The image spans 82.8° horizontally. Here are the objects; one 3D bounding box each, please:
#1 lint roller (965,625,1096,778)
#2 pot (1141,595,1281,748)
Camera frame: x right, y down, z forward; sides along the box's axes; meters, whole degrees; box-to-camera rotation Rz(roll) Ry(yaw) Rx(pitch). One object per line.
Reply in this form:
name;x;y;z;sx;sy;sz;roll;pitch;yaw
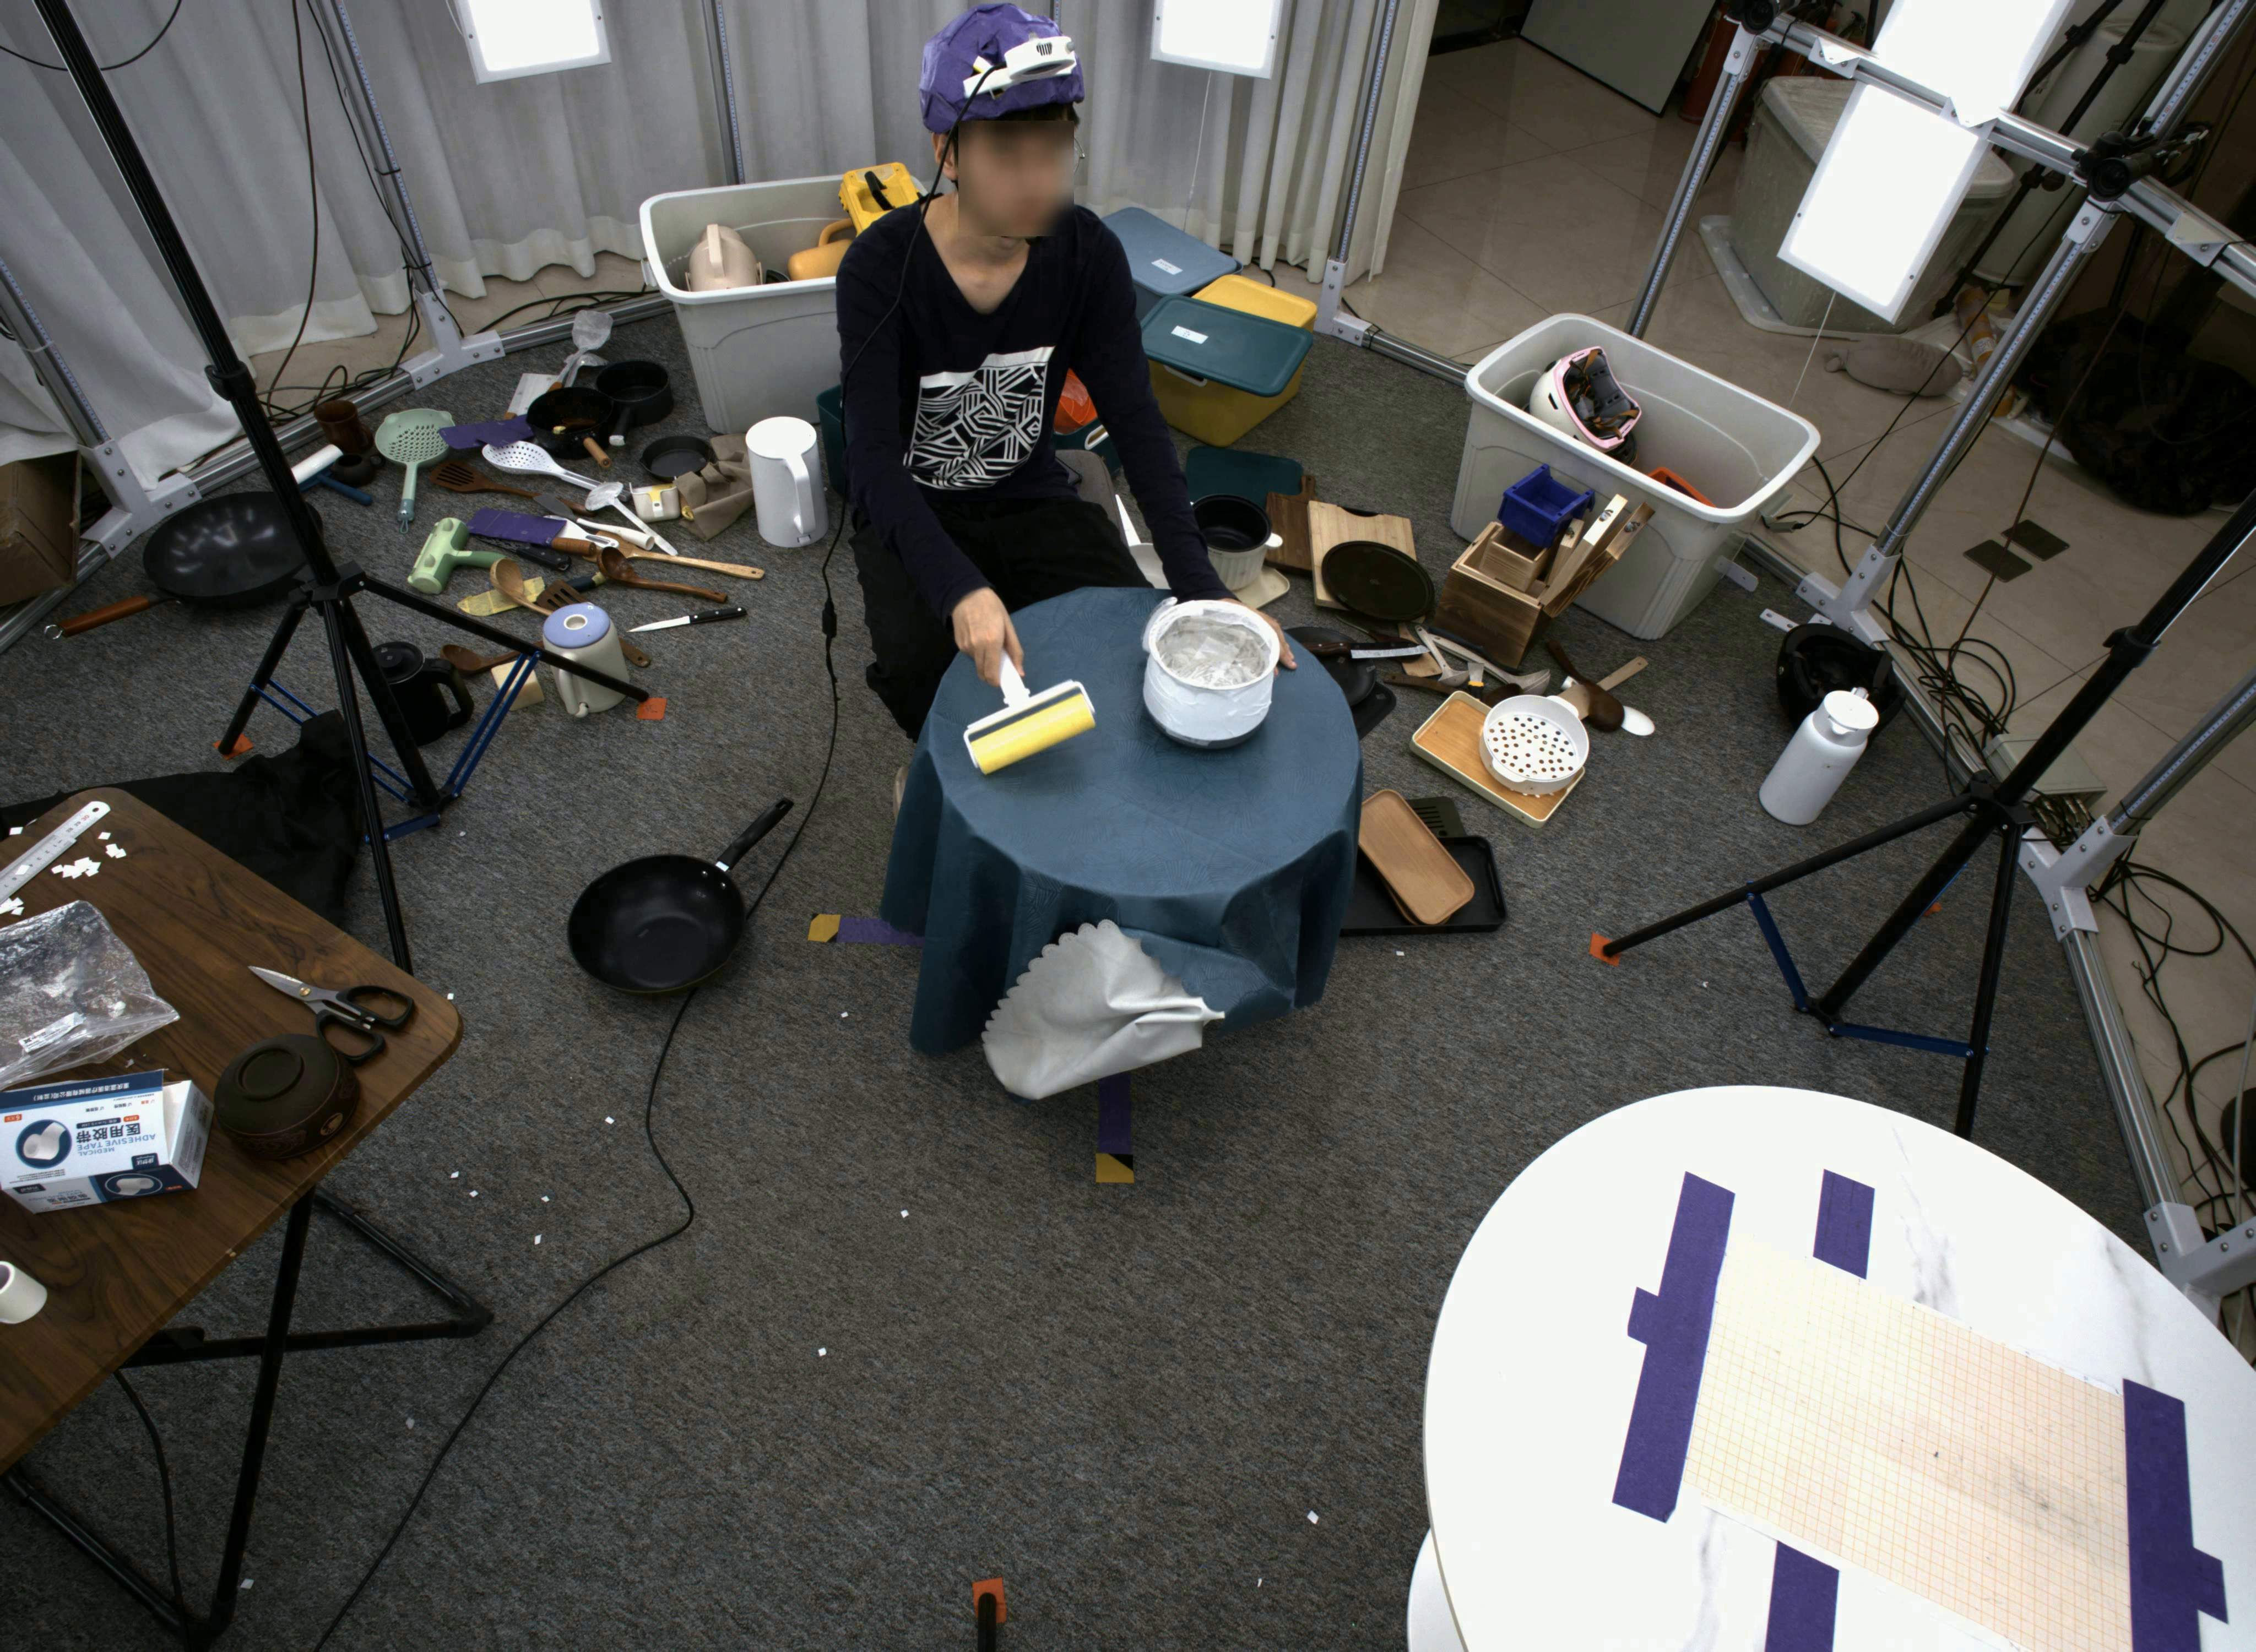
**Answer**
lint roller;-0.155;-0.183;1.705;0.174;0.051;0.192;-25;87;-7
pot;0.096;-0.224;1.777;0.179;0.133;0.238;-25;57;-25
